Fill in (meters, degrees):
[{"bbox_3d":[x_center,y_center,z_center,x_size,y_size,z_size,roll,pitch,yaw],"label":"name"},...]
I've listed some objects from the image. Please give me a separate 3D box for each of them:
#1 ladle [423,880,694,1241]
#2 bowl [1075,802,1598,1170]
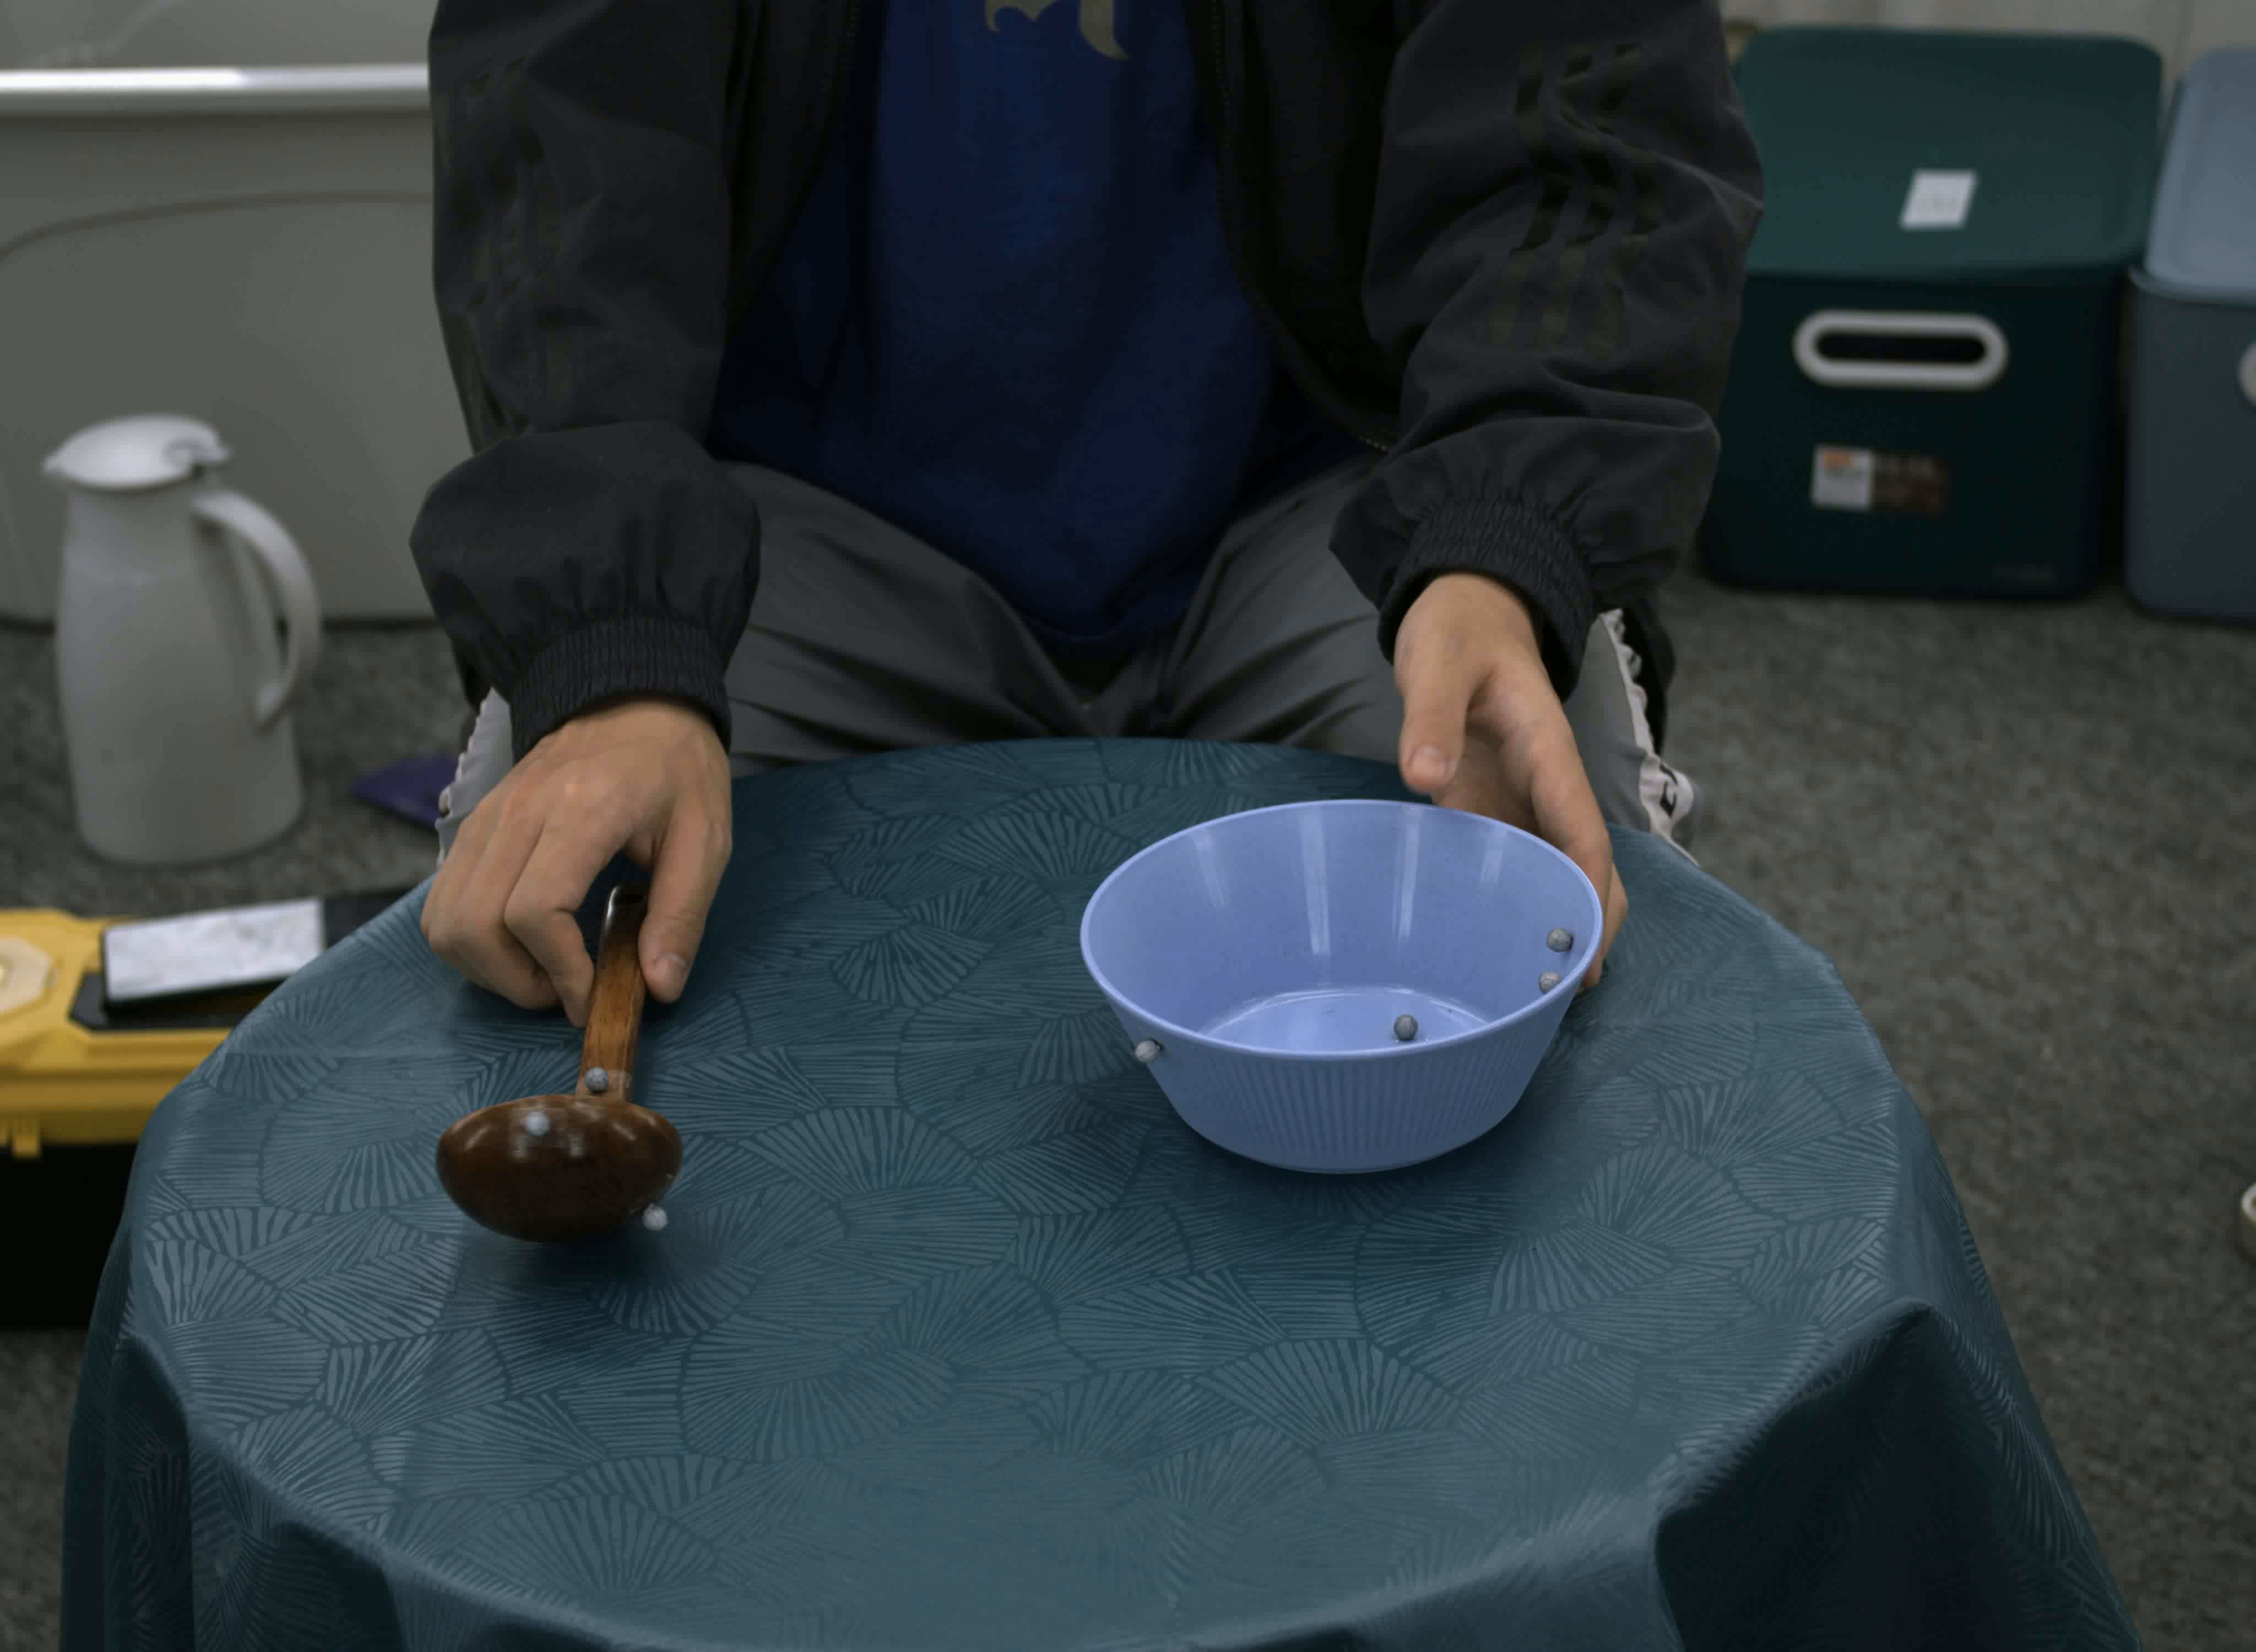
[{"bbox_3d":[-0.182,0.060,1.915,0.081,0.076,0.278,-1,28,4],"label":"ladle"},{"bbox_3d":[0.071,0.059,1.898,0.175,0.069,0.179,-2,27,1],"label":"bowl"}]
